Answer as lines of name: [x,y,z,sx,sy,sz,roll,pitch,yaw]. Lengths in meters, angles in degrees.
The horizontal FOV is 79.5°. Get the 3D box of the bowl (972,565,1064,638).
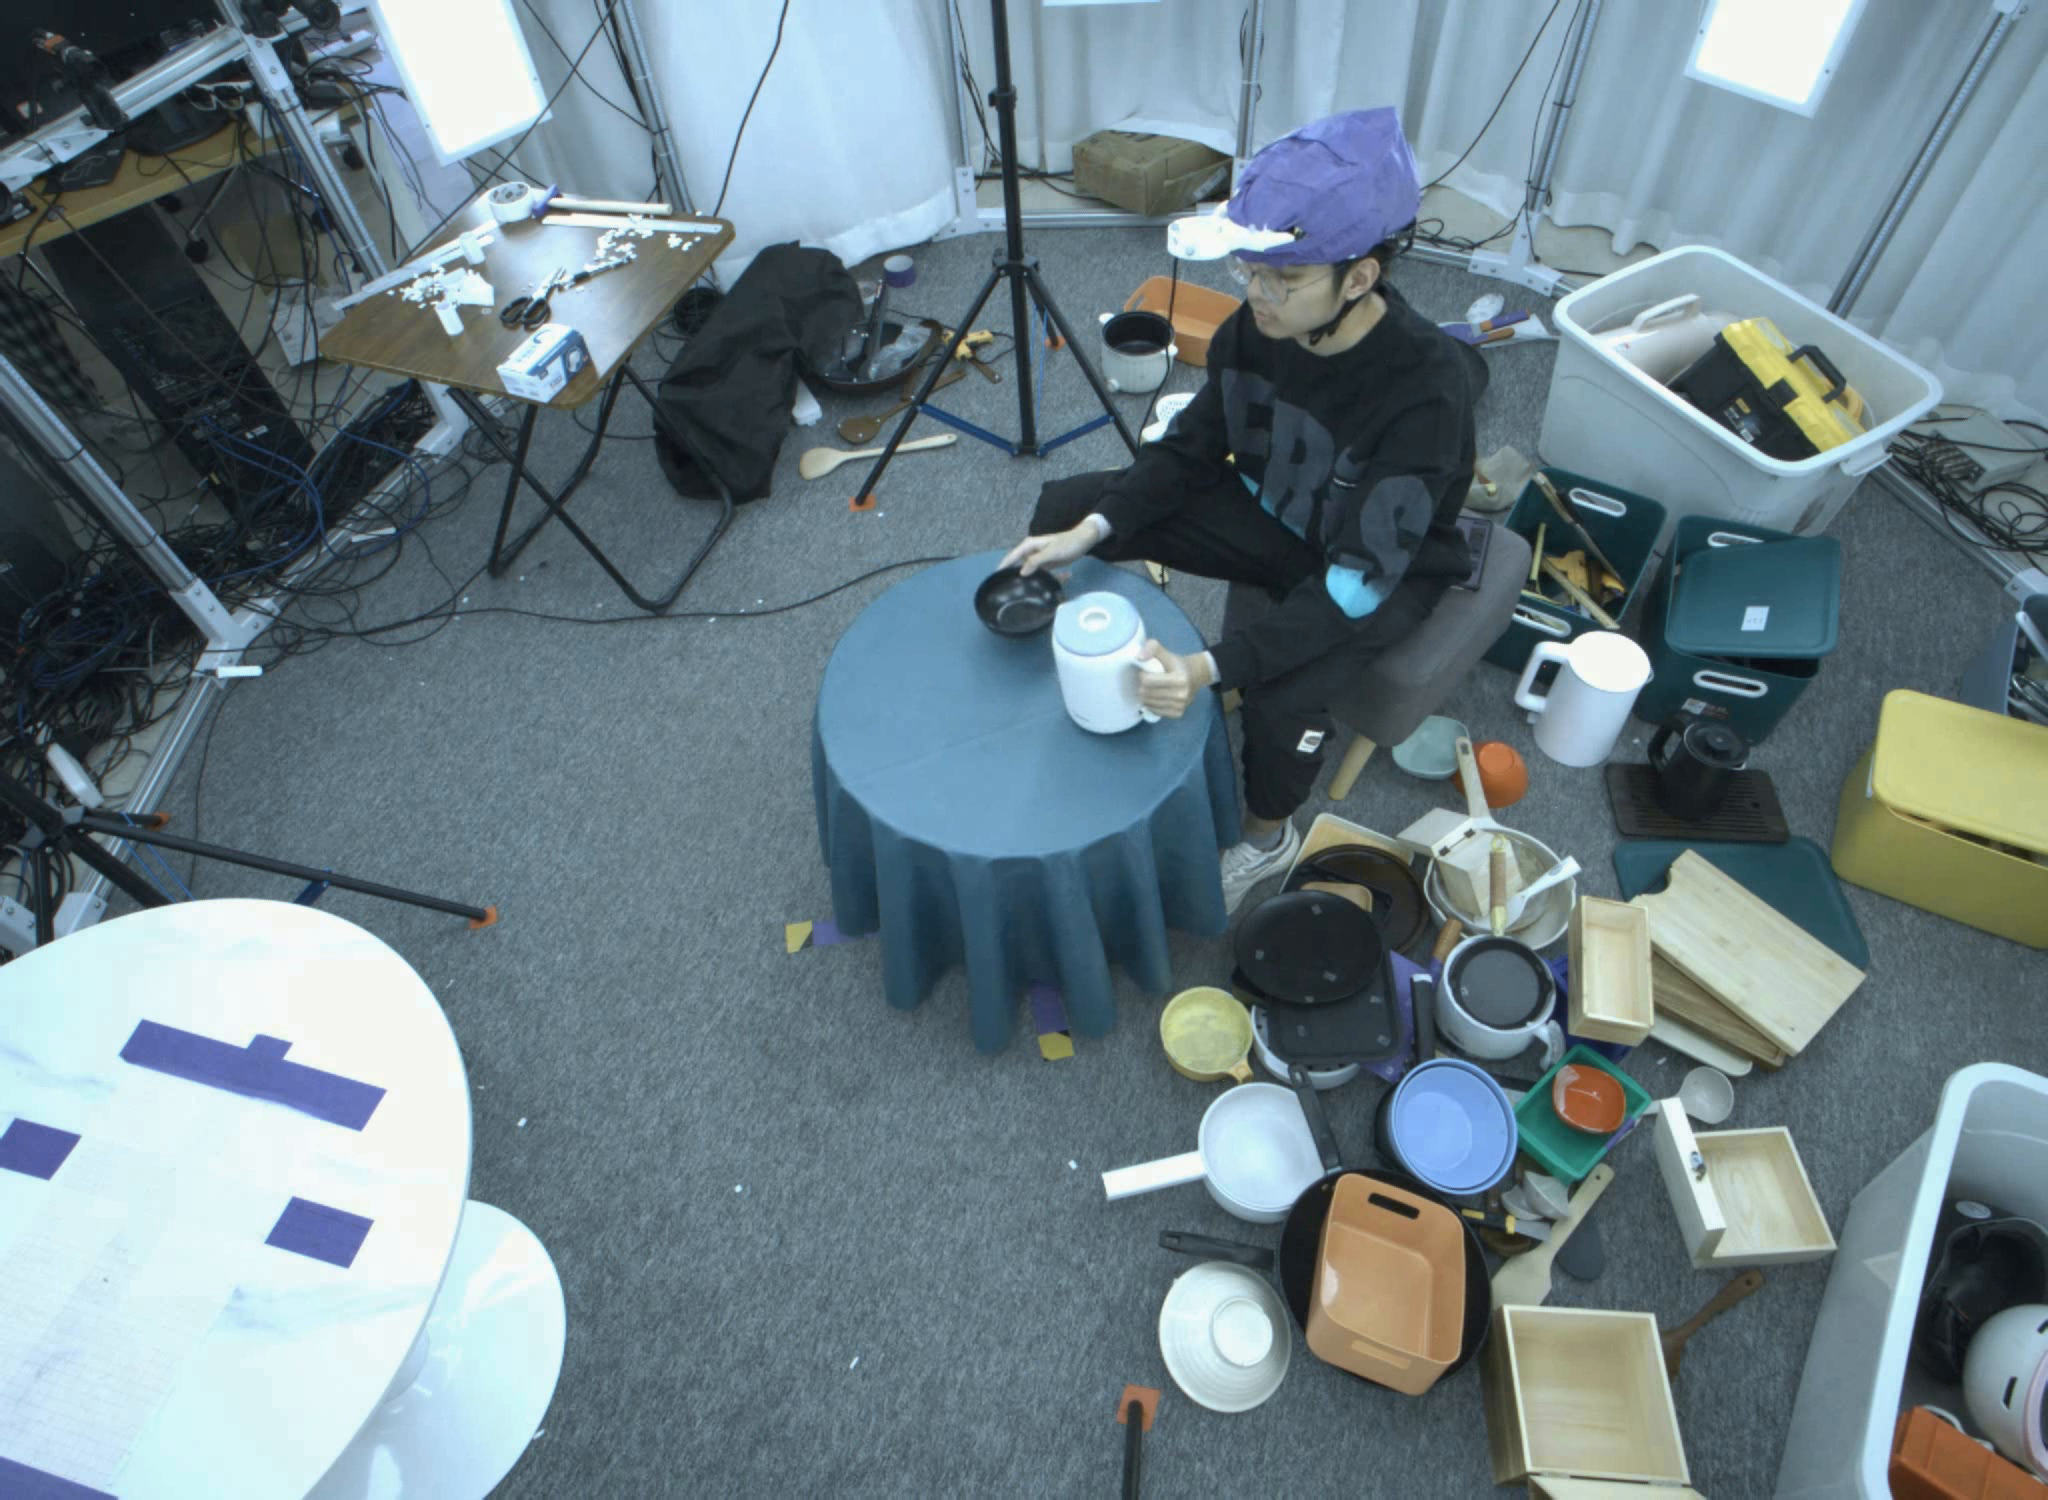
bowl: [-0.008,-0.217,1.869,0.140,0.050,0.138,-1,52,2]

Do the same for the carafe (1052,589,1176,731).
carafe: [0.131,-0.116,1.733,0.187,0.185,0.133,30,65,26]
